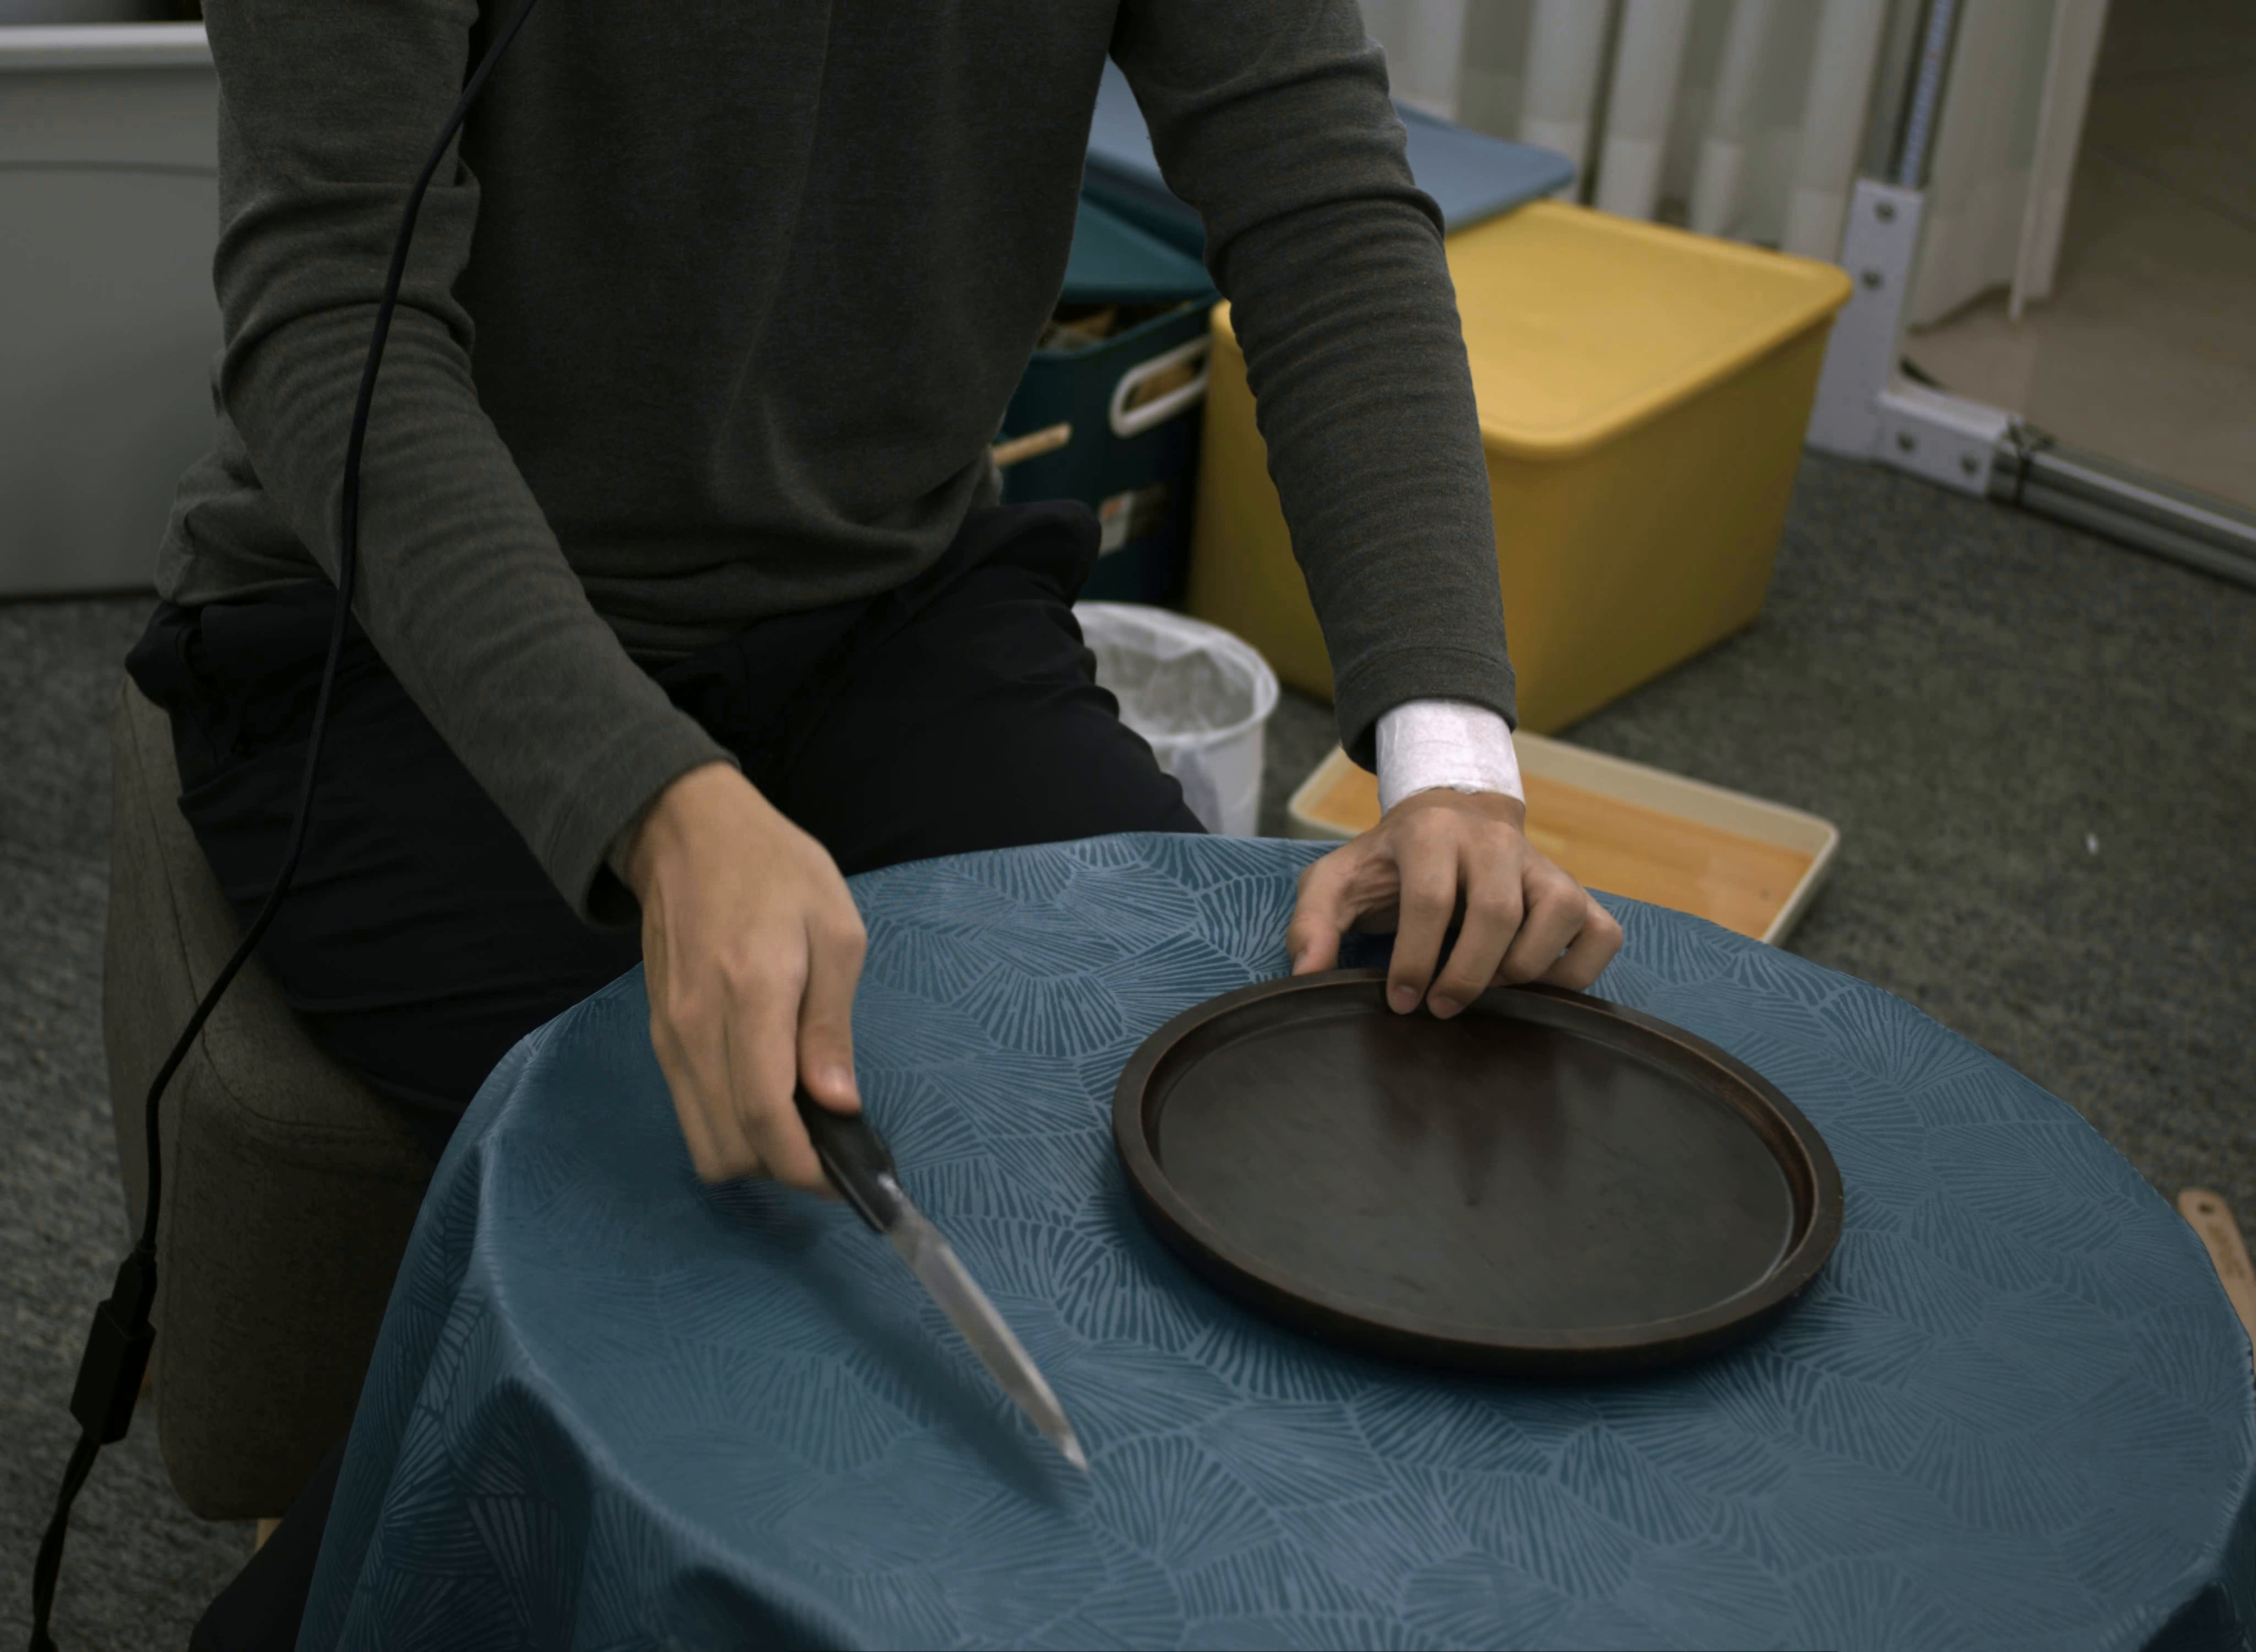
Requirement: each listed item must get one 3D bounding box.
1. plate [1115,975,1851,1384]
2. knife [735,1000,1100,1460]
[{"bbox_3d":[0.120,0.118,1.818,0.254,0.029,0.256,6,27,-3],"label":"plate"},{"bbox_3d":[-0.070,0.128,1.705,0.024,0.016,0.240,5,30,-38],"label":"knife"}]
